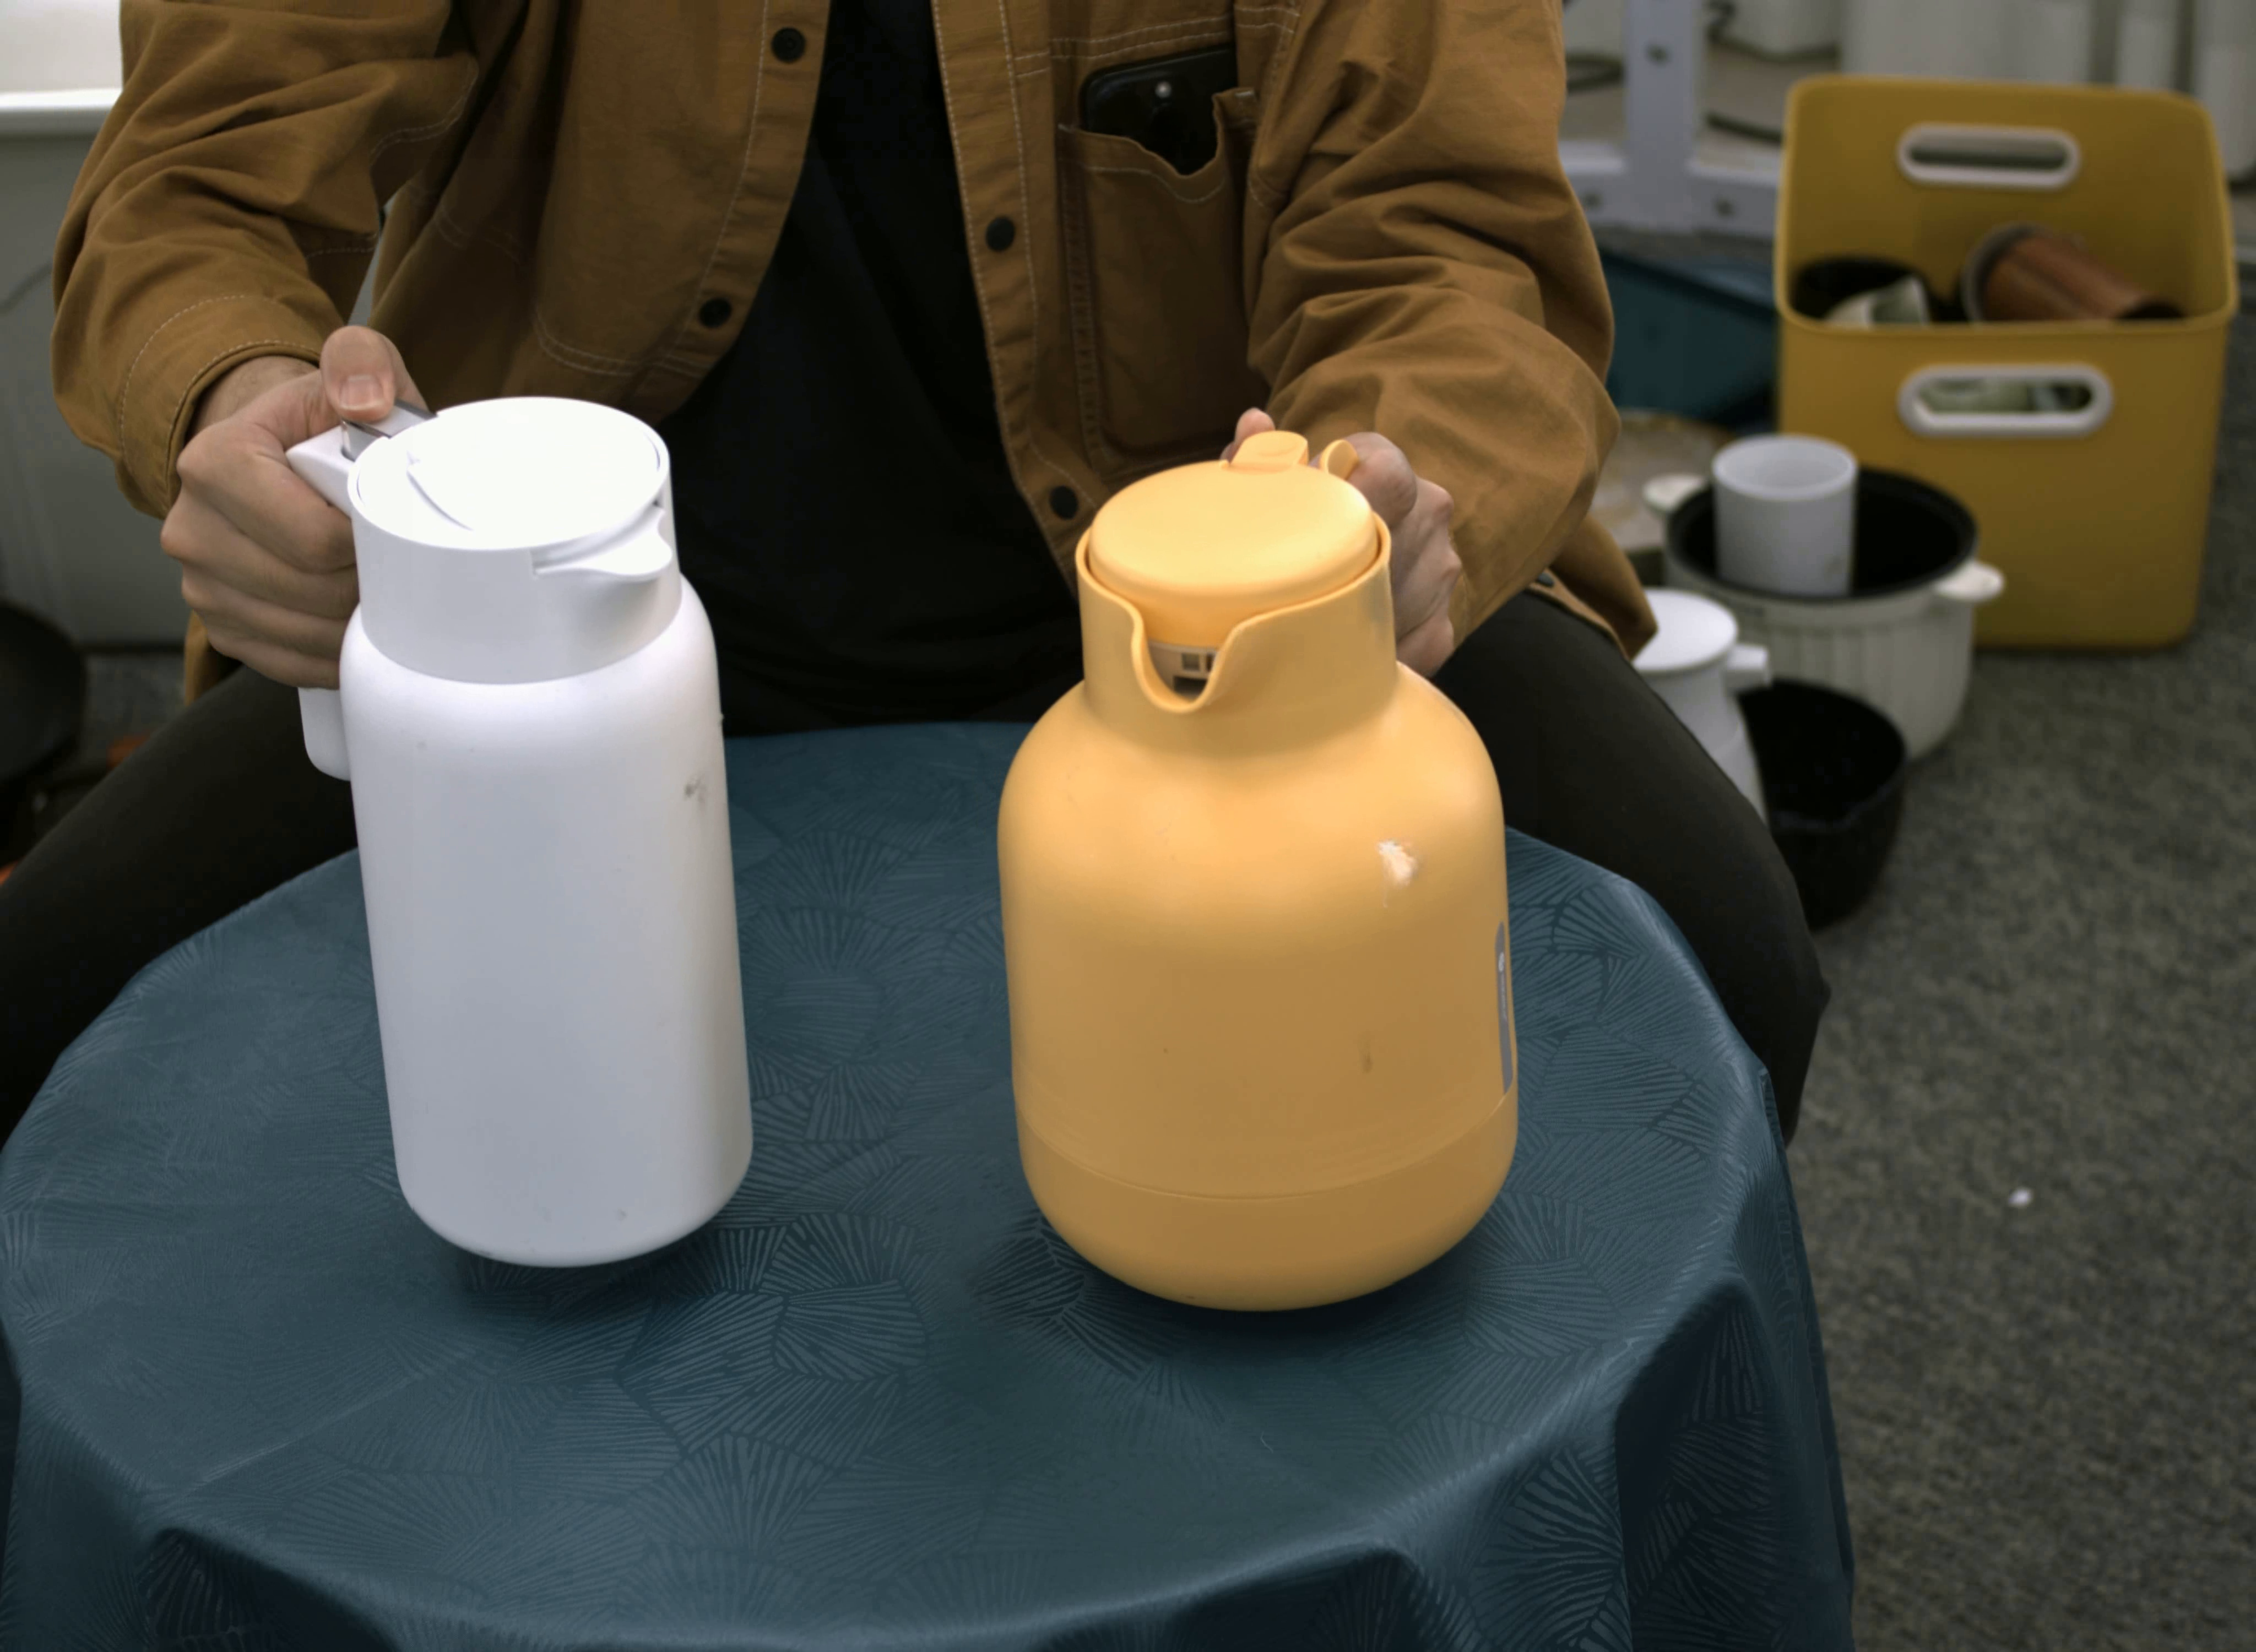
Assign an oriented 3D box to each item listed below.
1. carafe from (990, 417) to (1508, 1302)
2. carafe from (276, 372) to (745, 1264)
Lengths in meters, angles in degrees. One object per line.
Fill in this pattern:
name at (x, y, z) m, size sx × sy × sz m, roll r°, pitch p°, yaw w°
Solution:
carafe at (0.044, 0.001, 1.789) m, size 0.162 × 0.257 × 0.206 m, roll 8°, pitch 31°, yaw 16°
carafe at (-0.199, -0.005, 1.785) m, size 0.172 × 0.265 × 0.125 m, roll 24°, pitch 41°, yaw 37°
